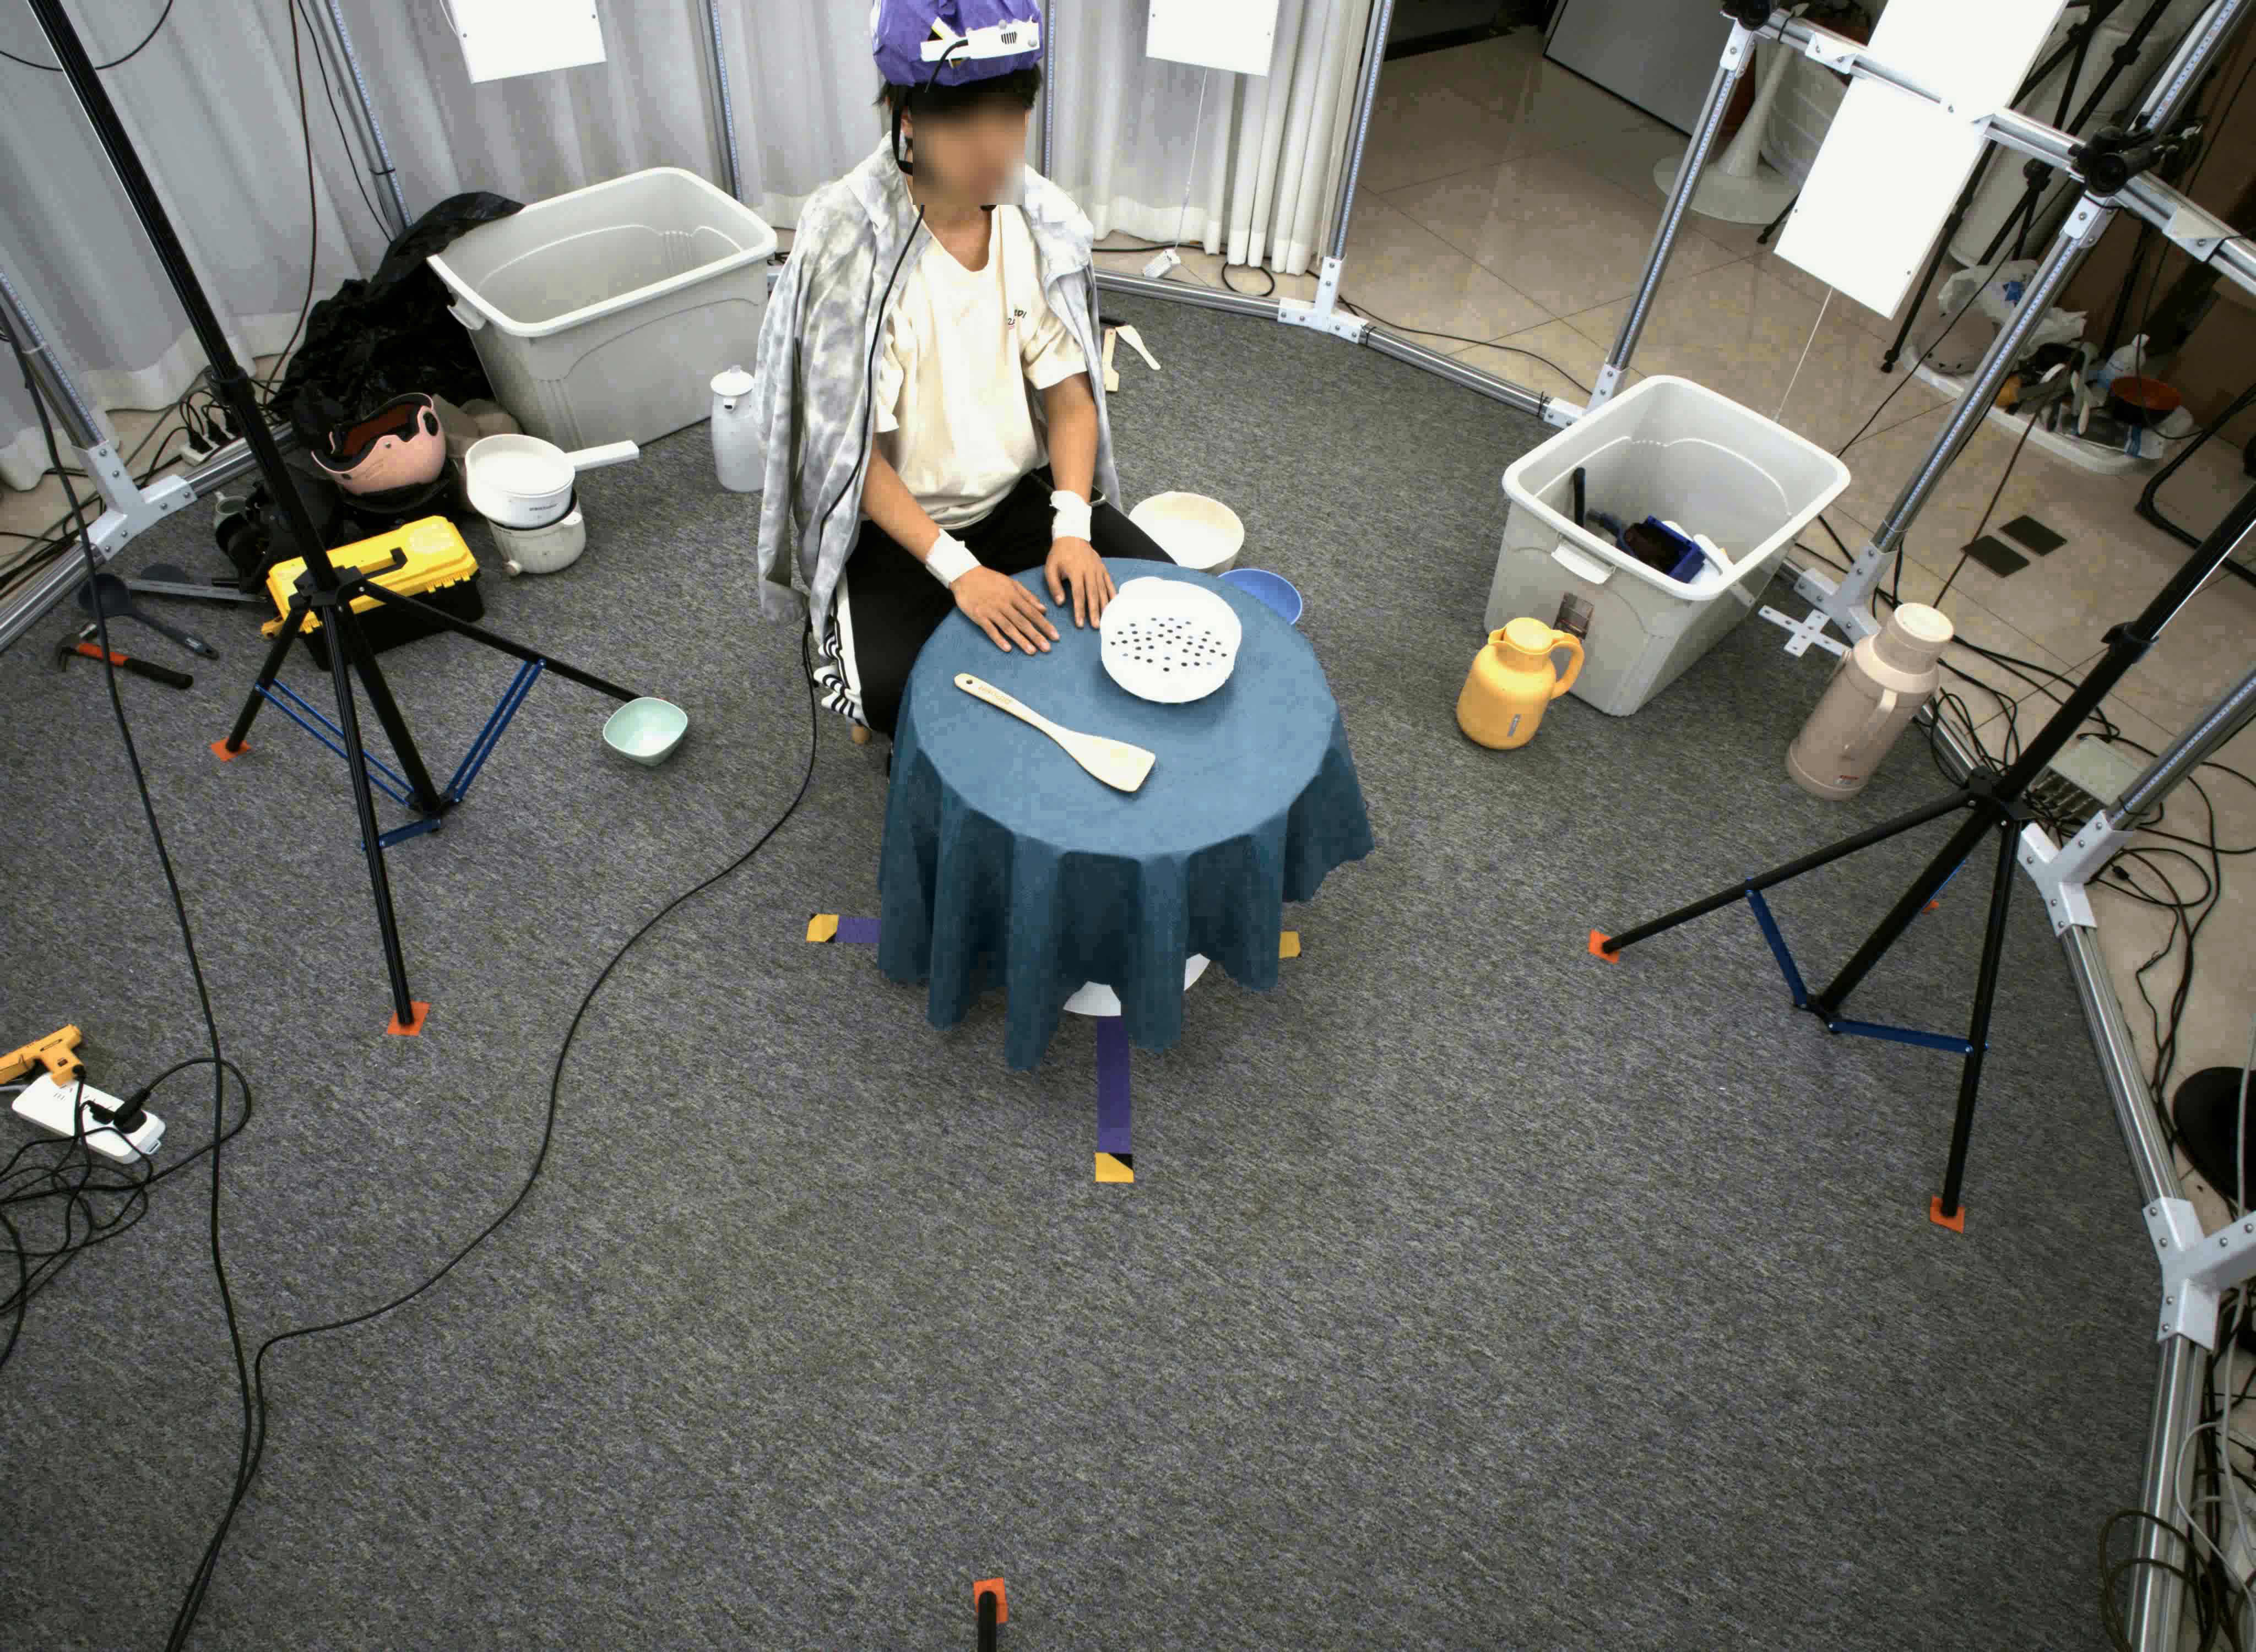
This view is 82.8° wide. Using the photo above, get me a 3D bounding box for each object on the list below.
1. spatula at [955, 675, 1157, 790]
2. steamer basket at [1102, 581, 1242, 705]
[{"bbox_3d":[-0.105,-0.138,1.762,0.331,0.016,0.081,29,52,20],"label":"spatula"},{"bbox_3d":[0.061,-0.260,1.849,0.202,0.067,0.236,-16,51,-19],"label":"steamer basket"}]
